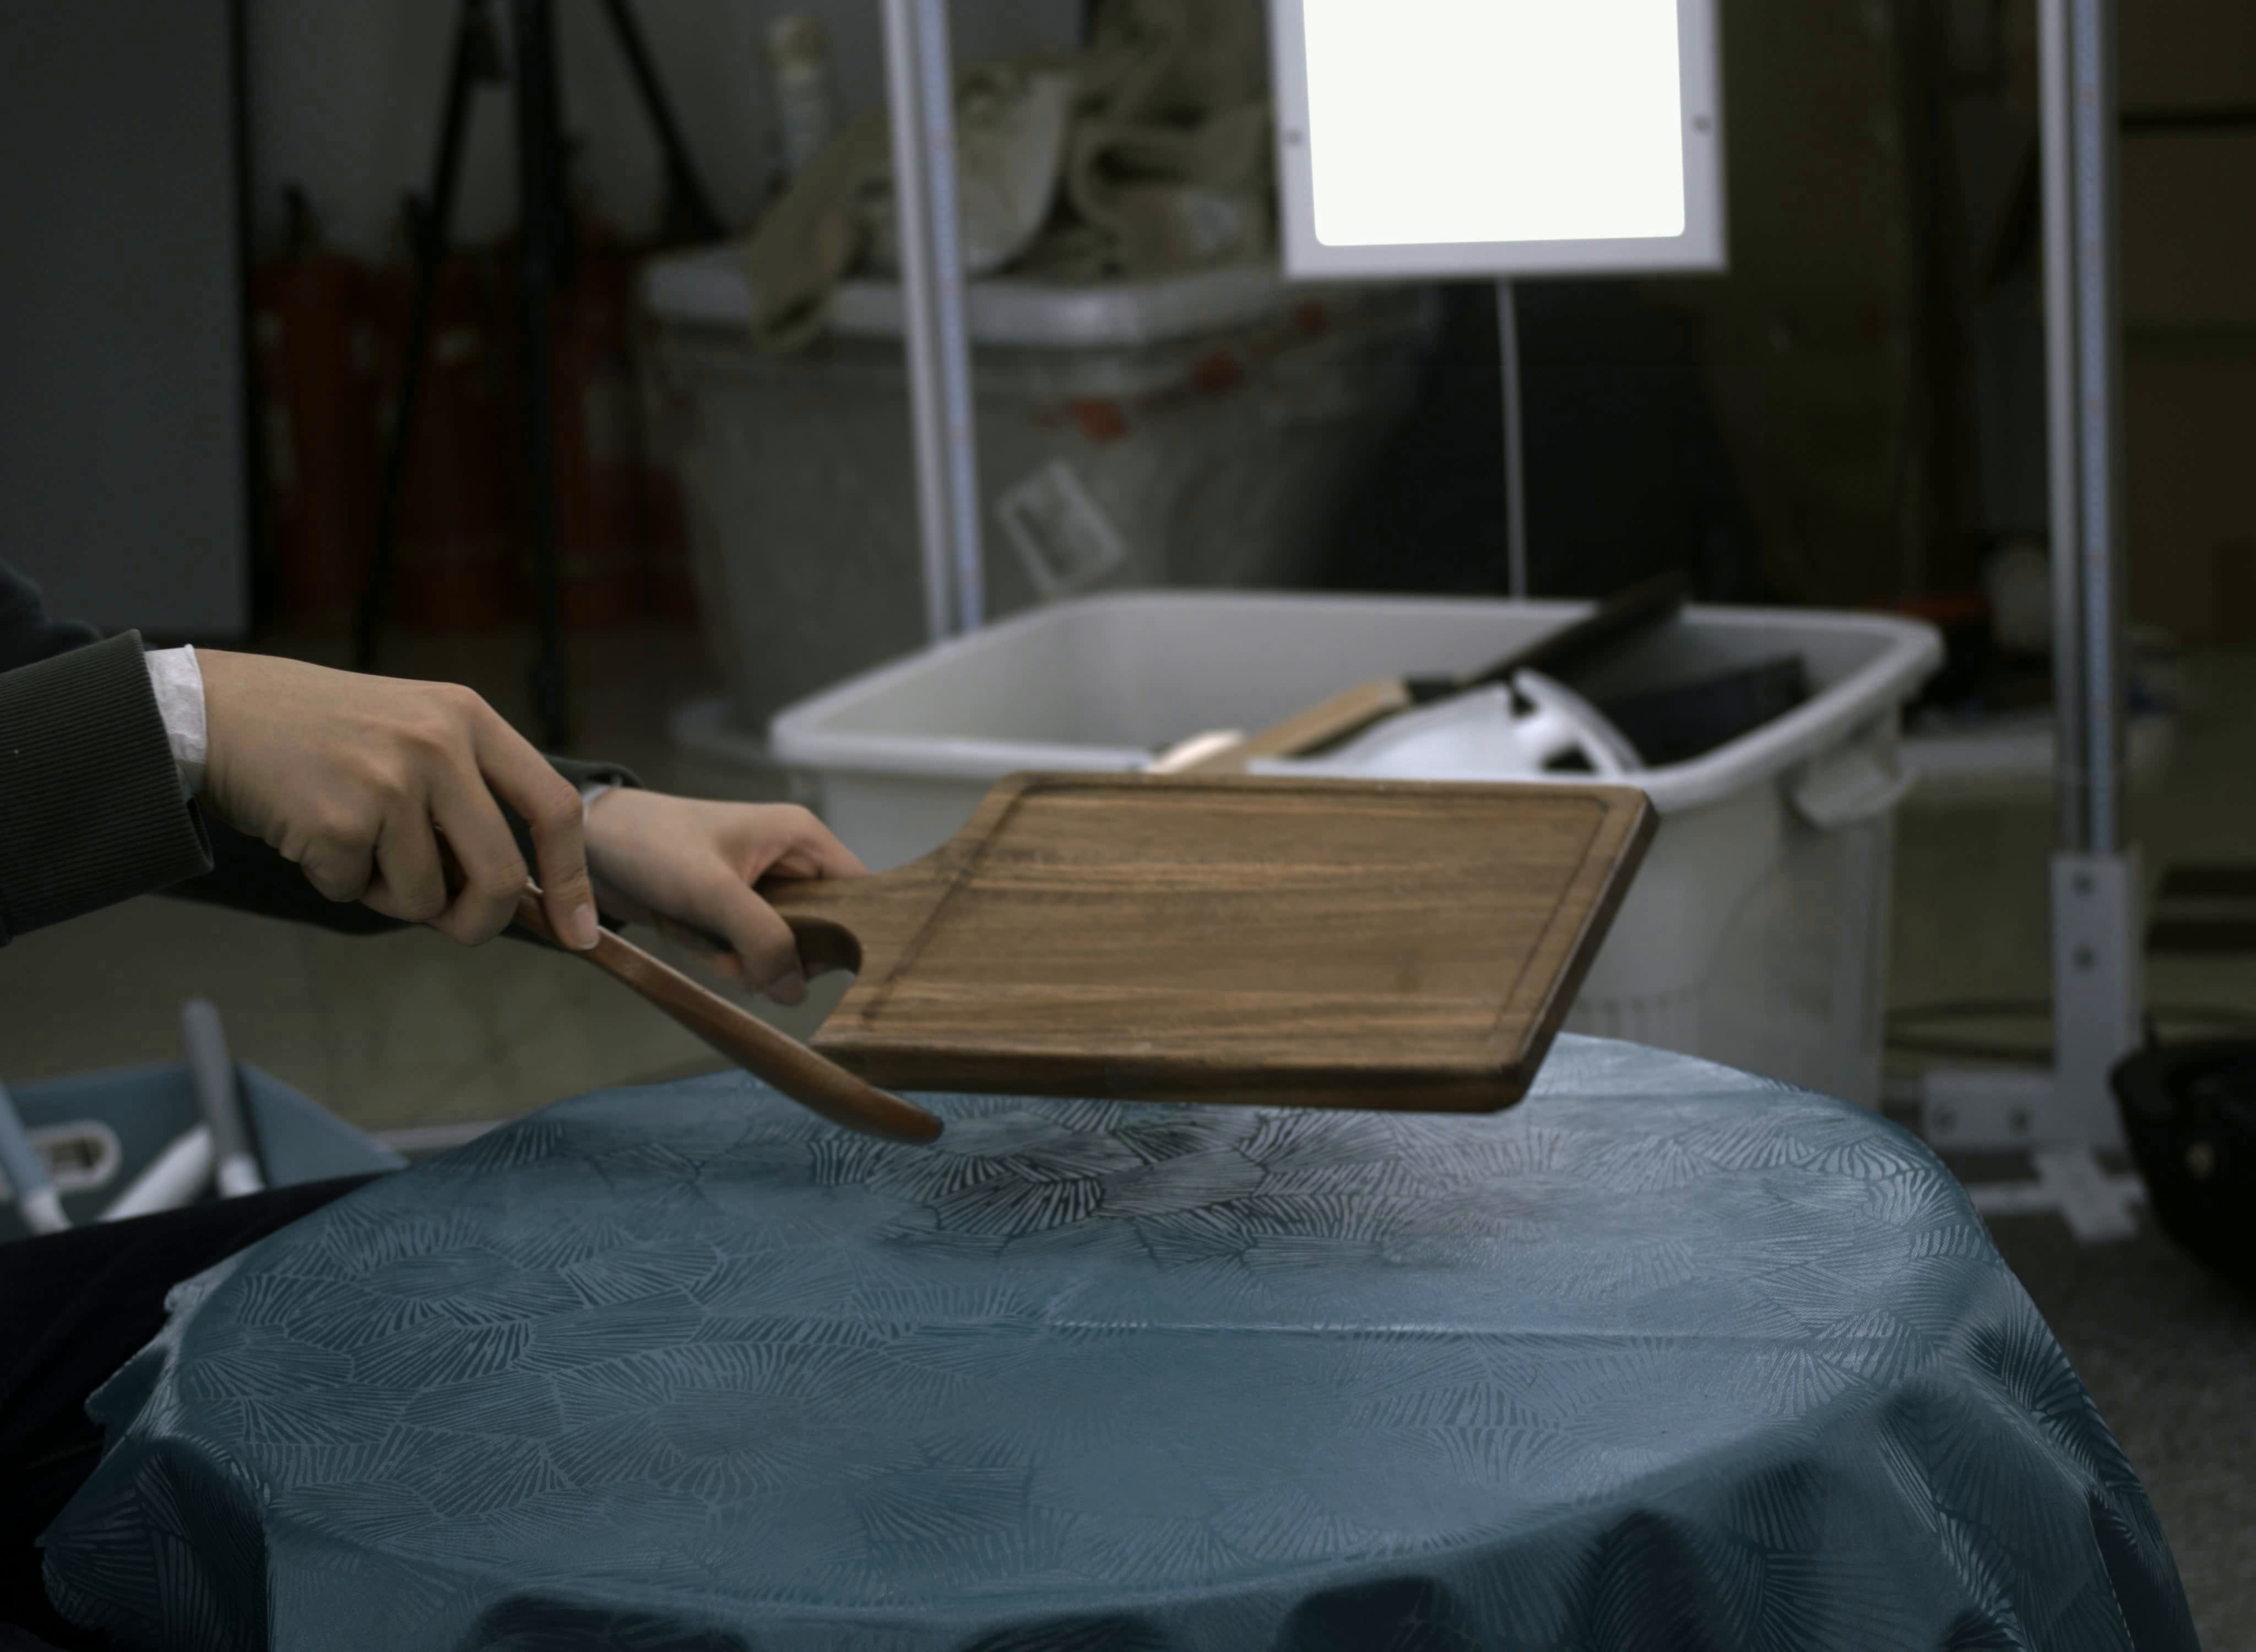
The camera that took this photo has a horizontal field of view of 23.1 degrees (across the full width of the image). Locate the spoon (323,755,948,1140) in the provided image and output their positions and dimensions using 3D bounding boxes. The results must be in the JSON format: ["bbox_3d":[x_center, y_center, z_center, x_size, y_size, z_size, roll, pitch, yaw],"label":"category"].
[{"bbox_3d":[-0.148,0.040,1.659,0.214,0.017,0.076,32,-1,-8],"label":"spoon"}]

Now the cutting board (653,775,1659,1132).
[{"bbox_3d":[-0.004,0.039,1.923,0.357,0.023,0.198,1,31,23],"label":"cutting board"}]
